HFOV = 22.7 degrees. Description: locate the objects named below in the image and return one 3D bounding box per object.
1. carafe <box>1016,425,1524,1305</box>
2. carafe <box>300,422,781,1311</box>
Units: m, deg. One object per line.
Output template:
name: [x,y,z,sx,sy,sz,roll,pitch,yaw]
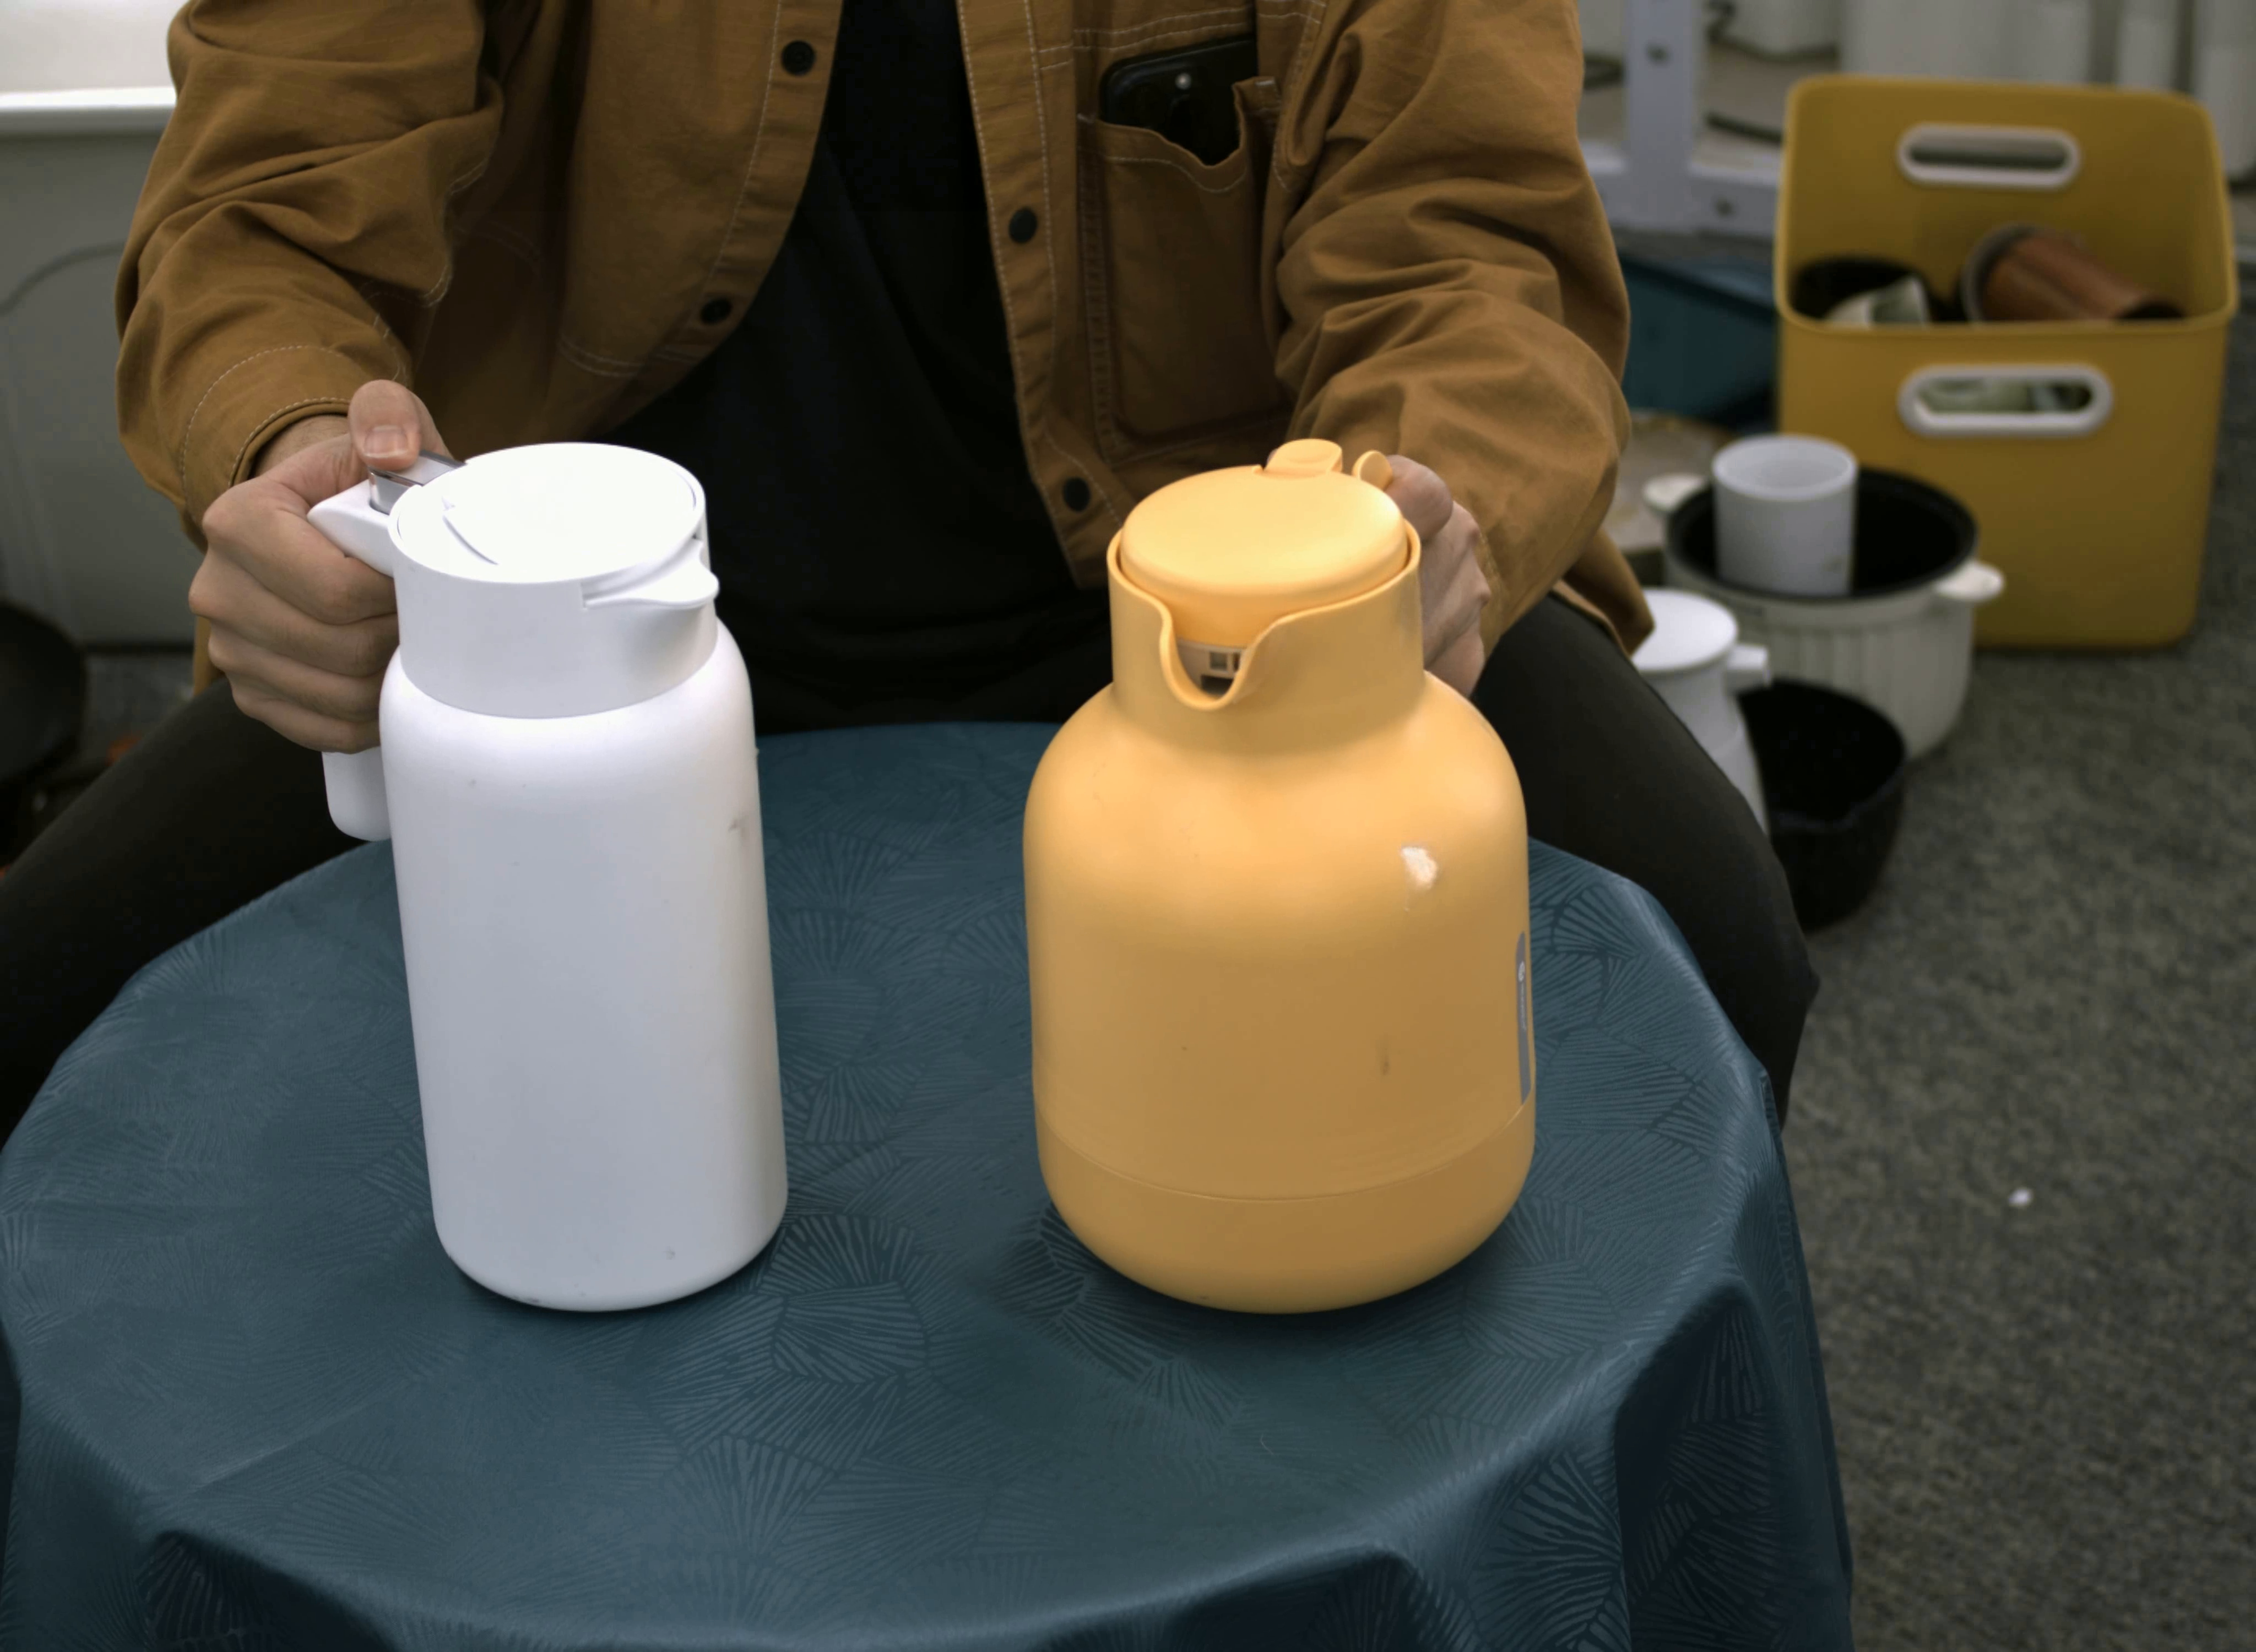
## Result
carafe: [0.052,0.003,1.799,0.162,0.257,0.206,9,30,16]
carafe: [-0.189,0.011,1.799,0.172,0.266,0.125,19,36,34]
